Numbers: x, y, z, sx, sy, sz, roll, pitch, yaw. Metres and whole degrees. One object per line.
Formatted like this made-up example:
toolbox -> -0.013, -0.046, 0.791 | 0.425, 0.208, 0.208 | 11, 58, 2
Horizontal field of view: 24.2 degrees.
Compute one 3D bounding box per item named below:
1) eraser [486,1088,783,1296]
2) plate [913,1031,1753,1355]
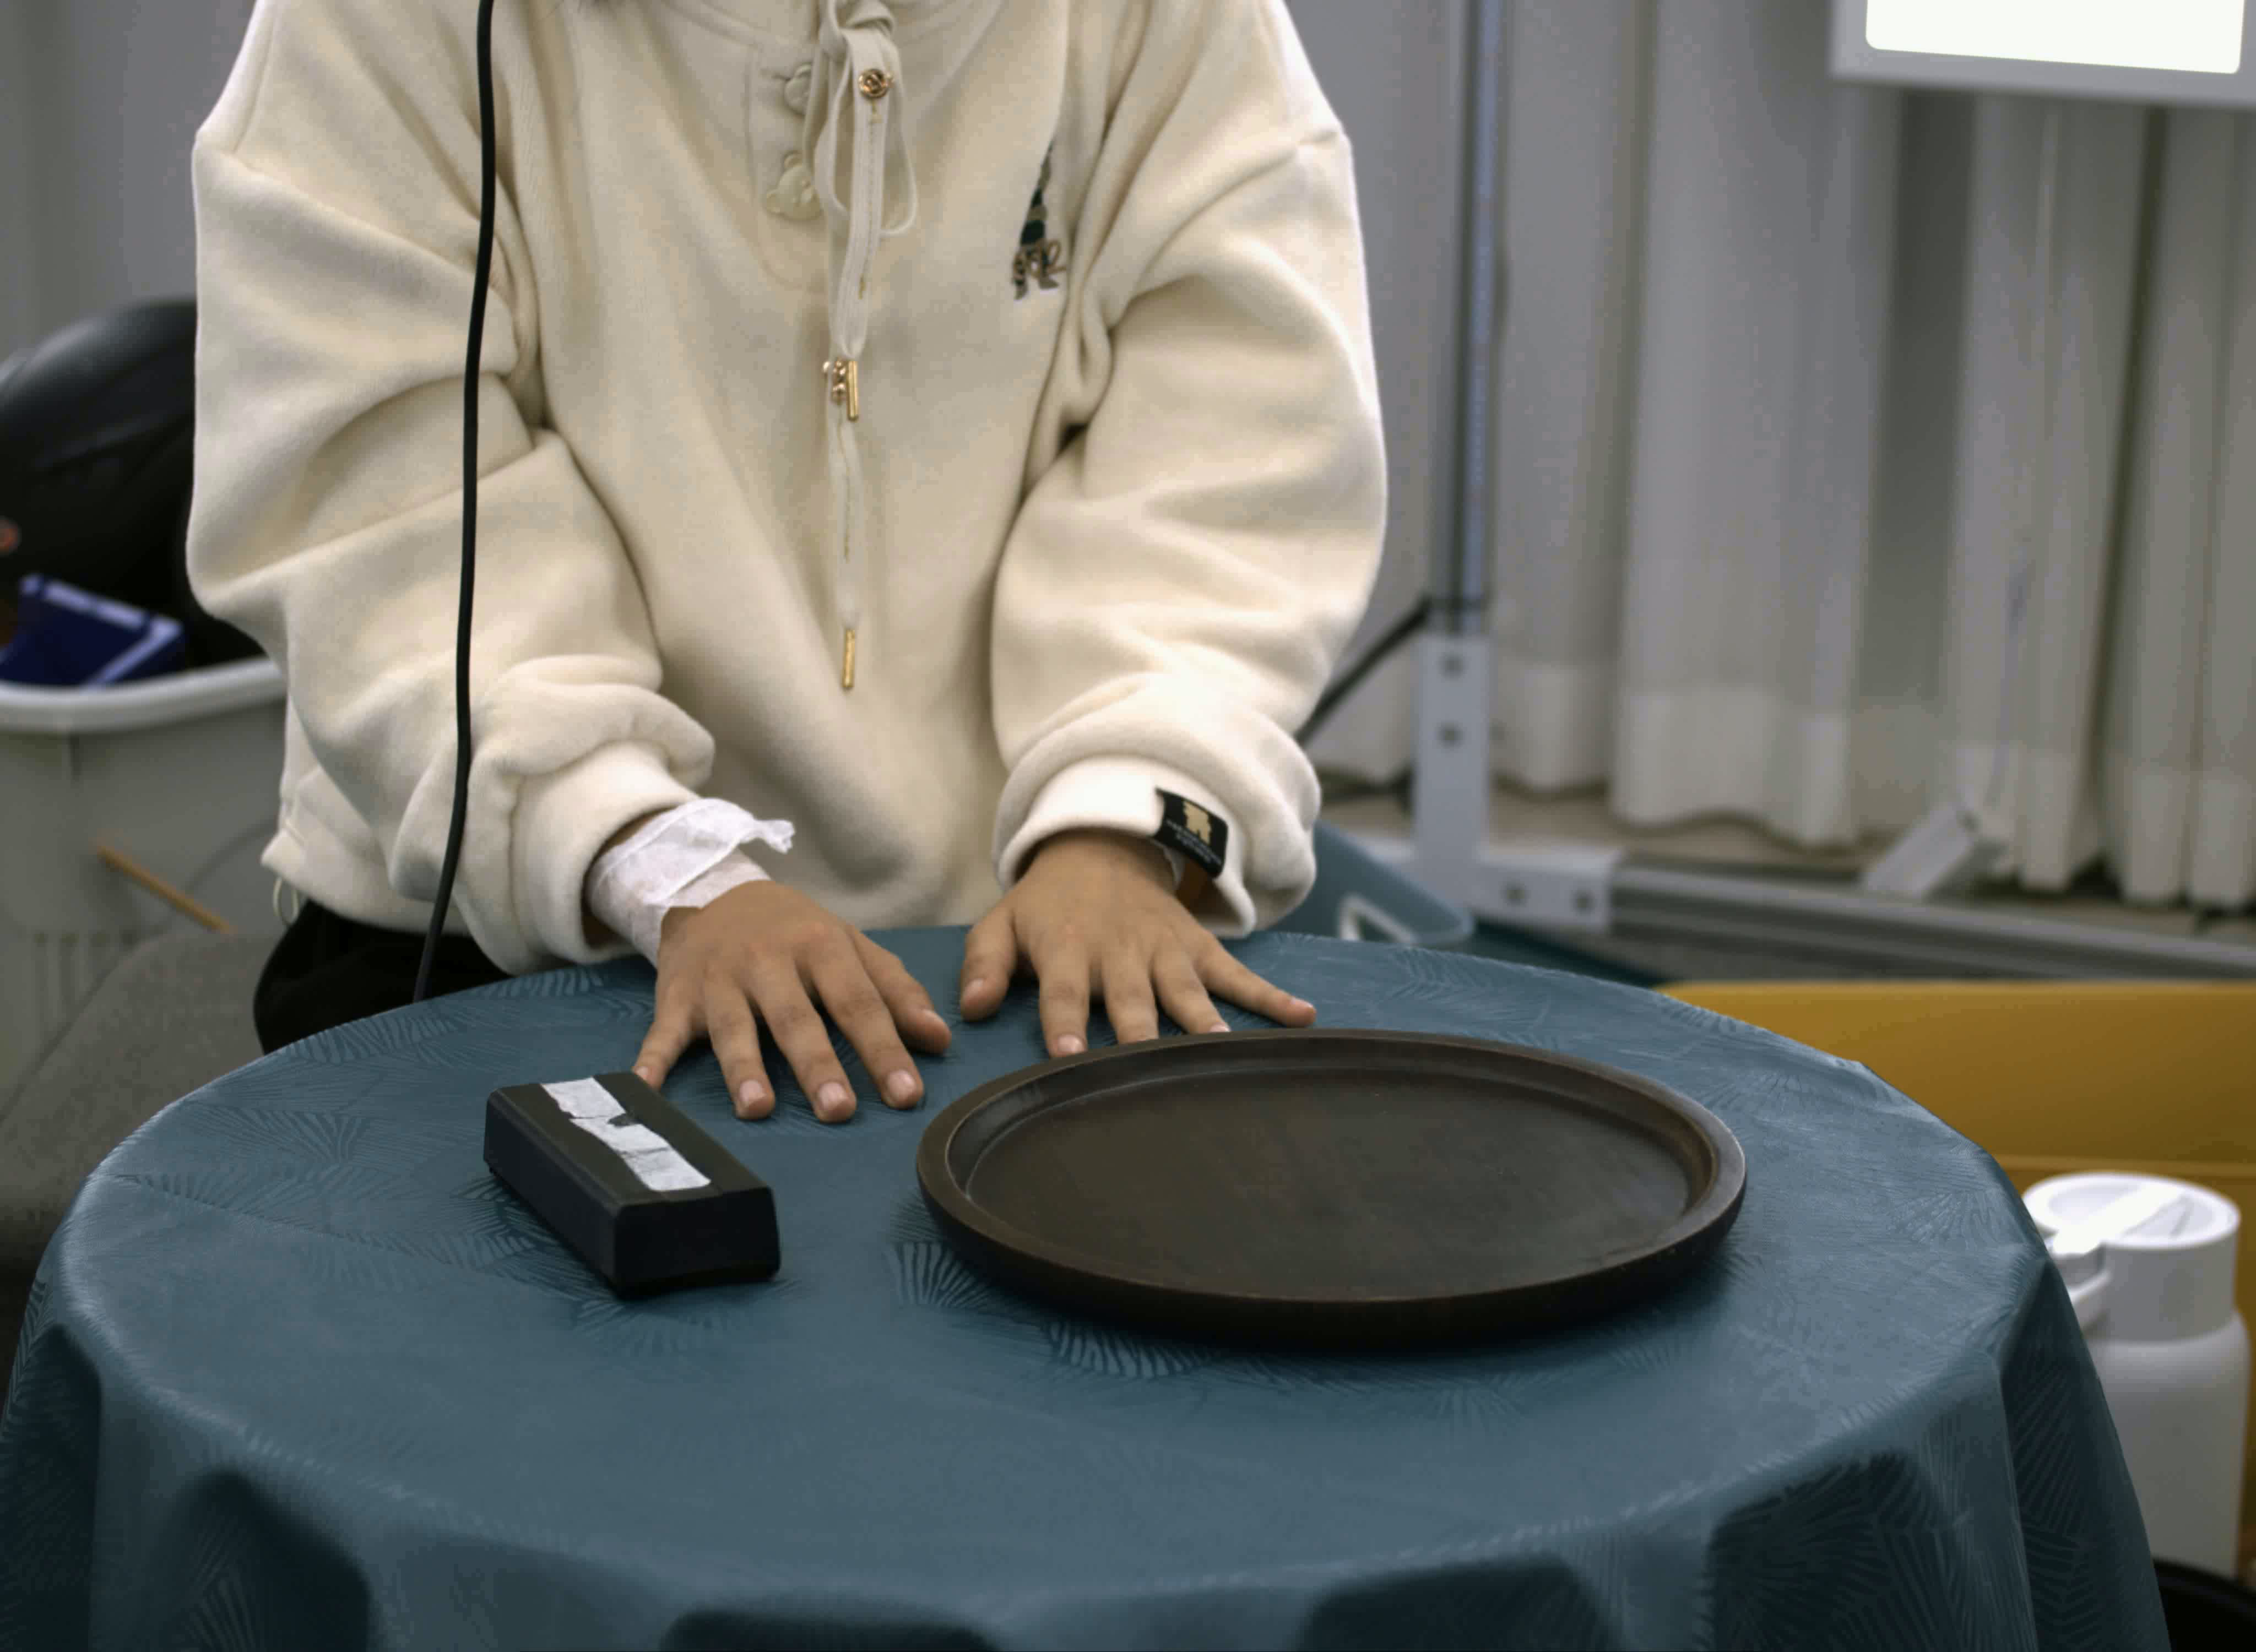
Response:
eraser -> -0.149, 0.109, 1.581 | 0.054, 0.030, 0.124 | -4, 14, -24
plate -> 0.062, 0.108, 1.594 | 0.254, 0.029, 0.253 | 1, 17, 0
